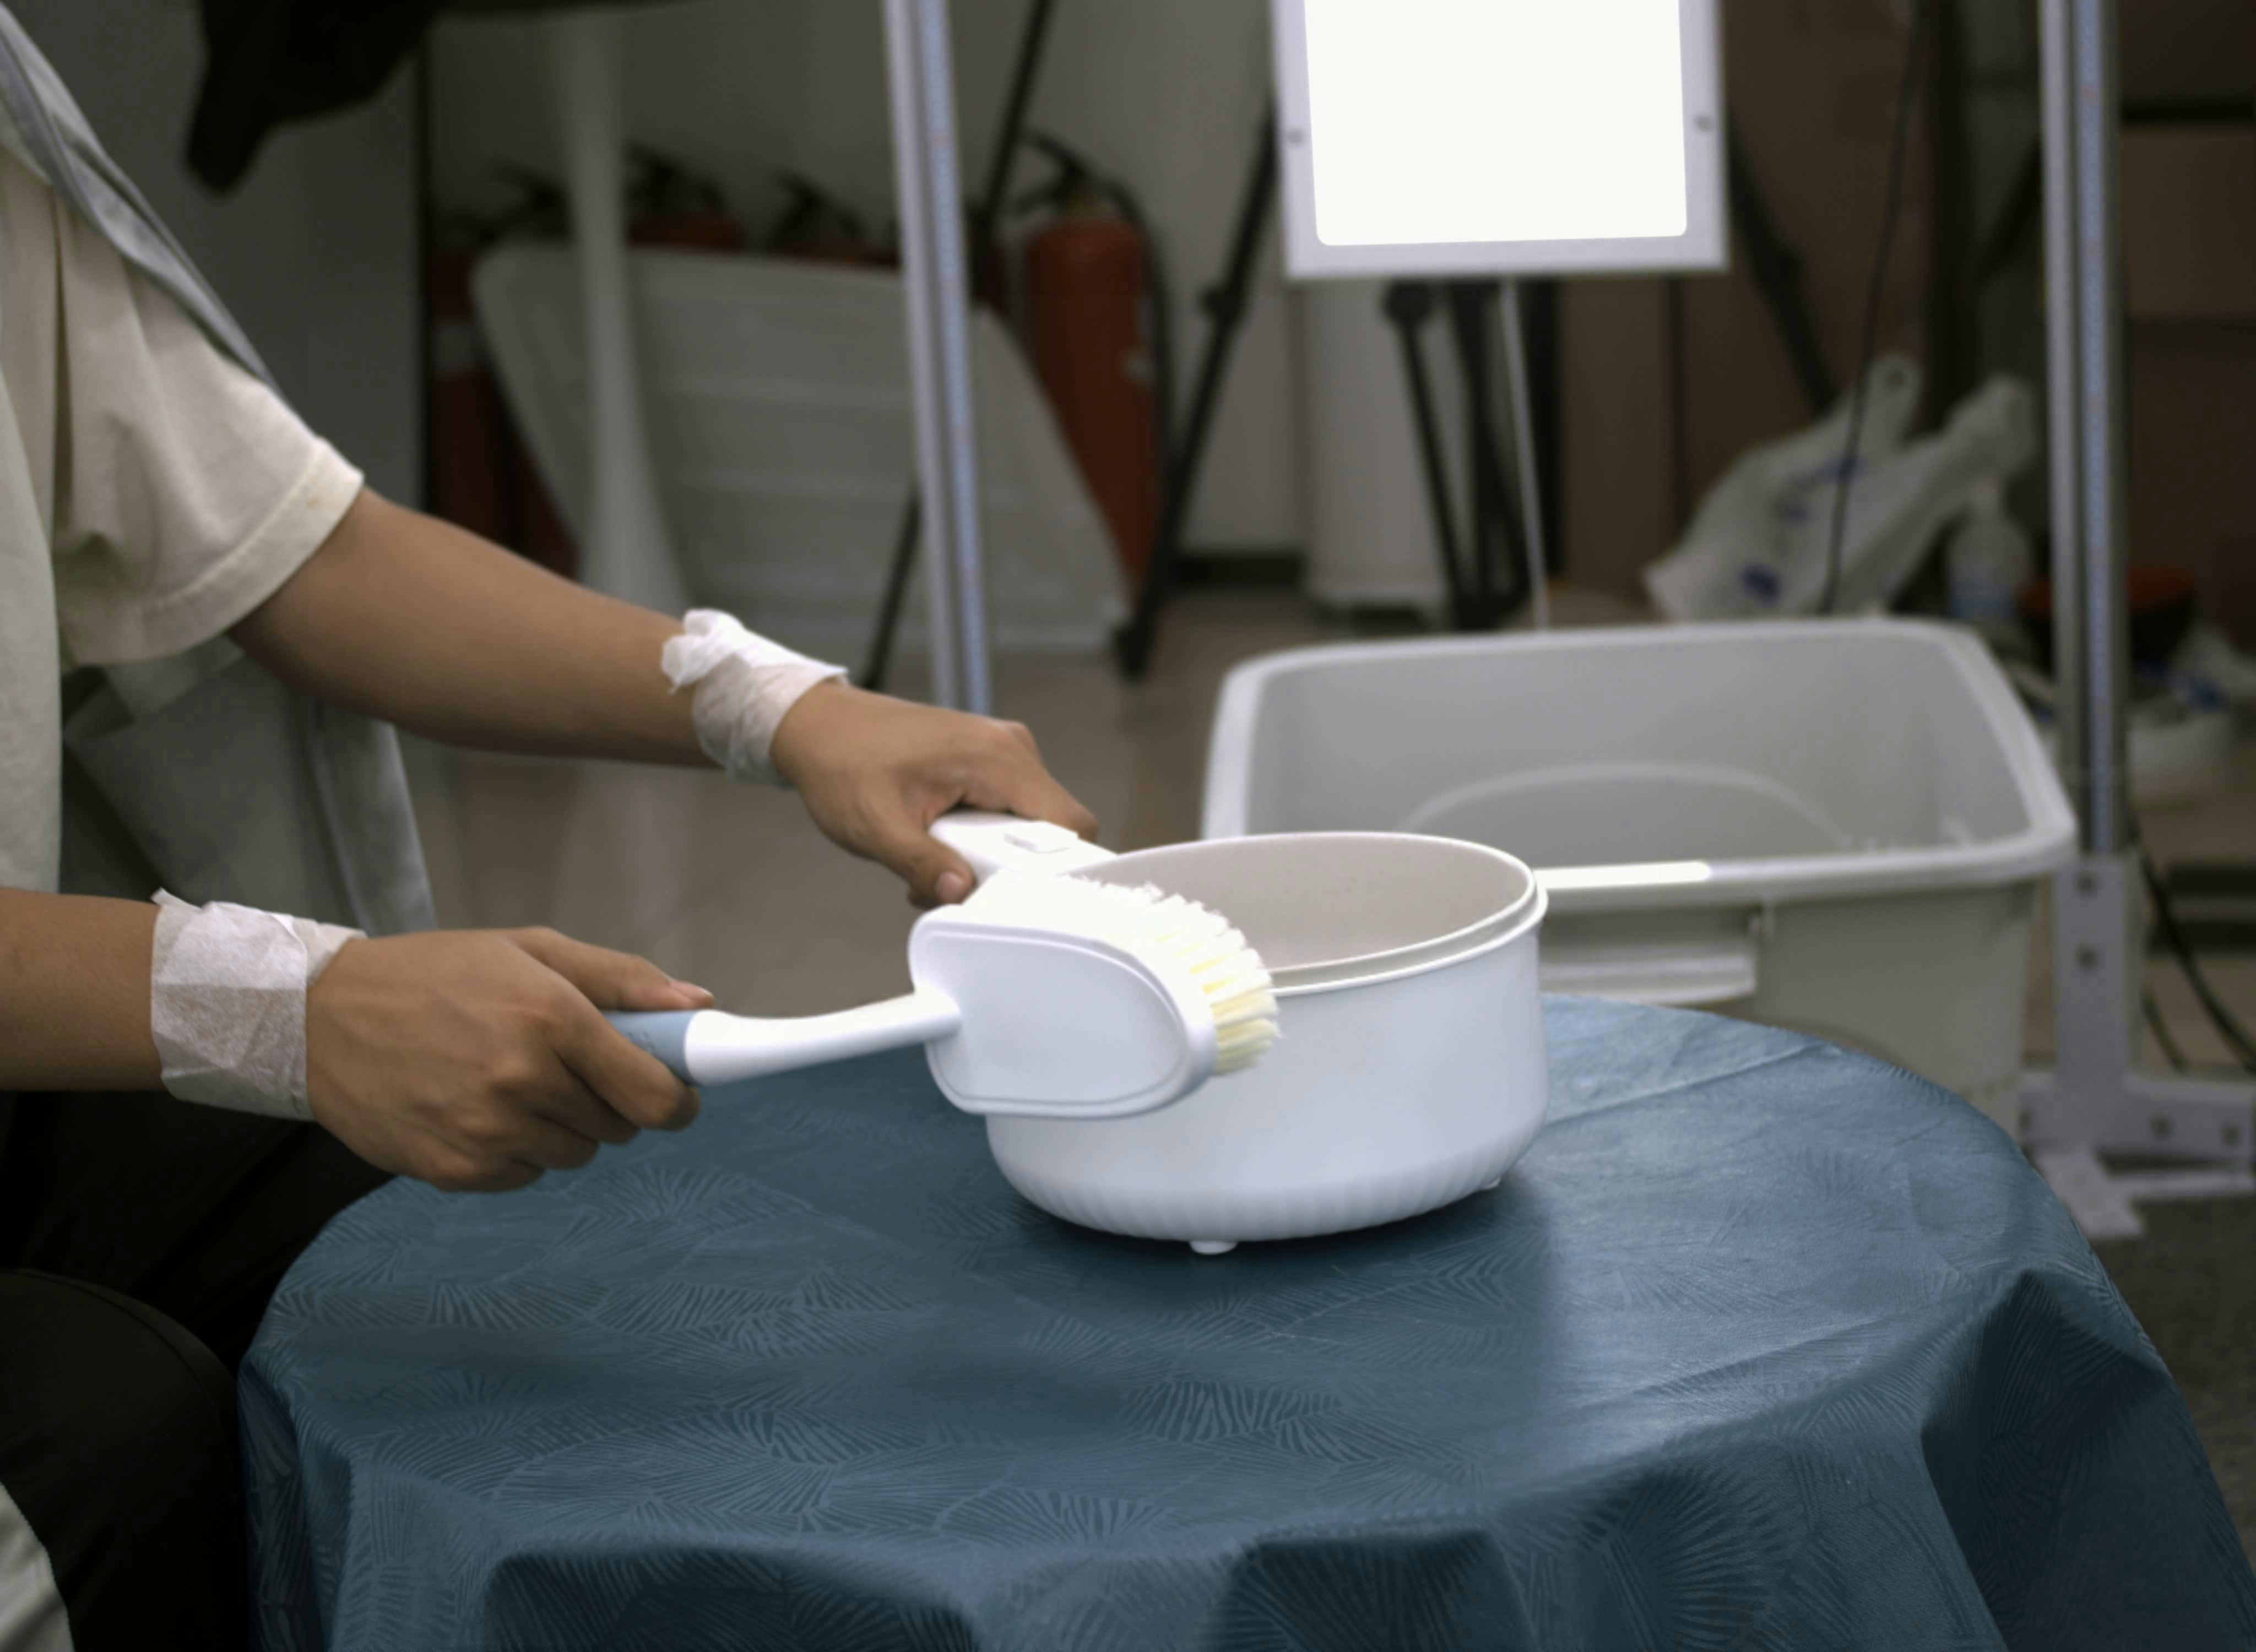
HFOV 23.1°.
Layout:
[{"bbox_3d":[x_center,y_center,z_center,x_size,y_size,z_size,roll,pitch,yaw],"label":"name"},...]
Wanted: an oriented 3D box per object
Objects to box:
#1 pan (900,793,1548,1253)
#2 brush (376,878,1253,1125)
[{"bbox_3d":[0.011,0.062,1.946,0.197,0.102,0.361,-11,14,-25],"label":"pan"},{"bbox_3d":[-0.099,0.056,1.772,0.332,0.083,0.083,-3,-23,34],"label":"brush"}]
